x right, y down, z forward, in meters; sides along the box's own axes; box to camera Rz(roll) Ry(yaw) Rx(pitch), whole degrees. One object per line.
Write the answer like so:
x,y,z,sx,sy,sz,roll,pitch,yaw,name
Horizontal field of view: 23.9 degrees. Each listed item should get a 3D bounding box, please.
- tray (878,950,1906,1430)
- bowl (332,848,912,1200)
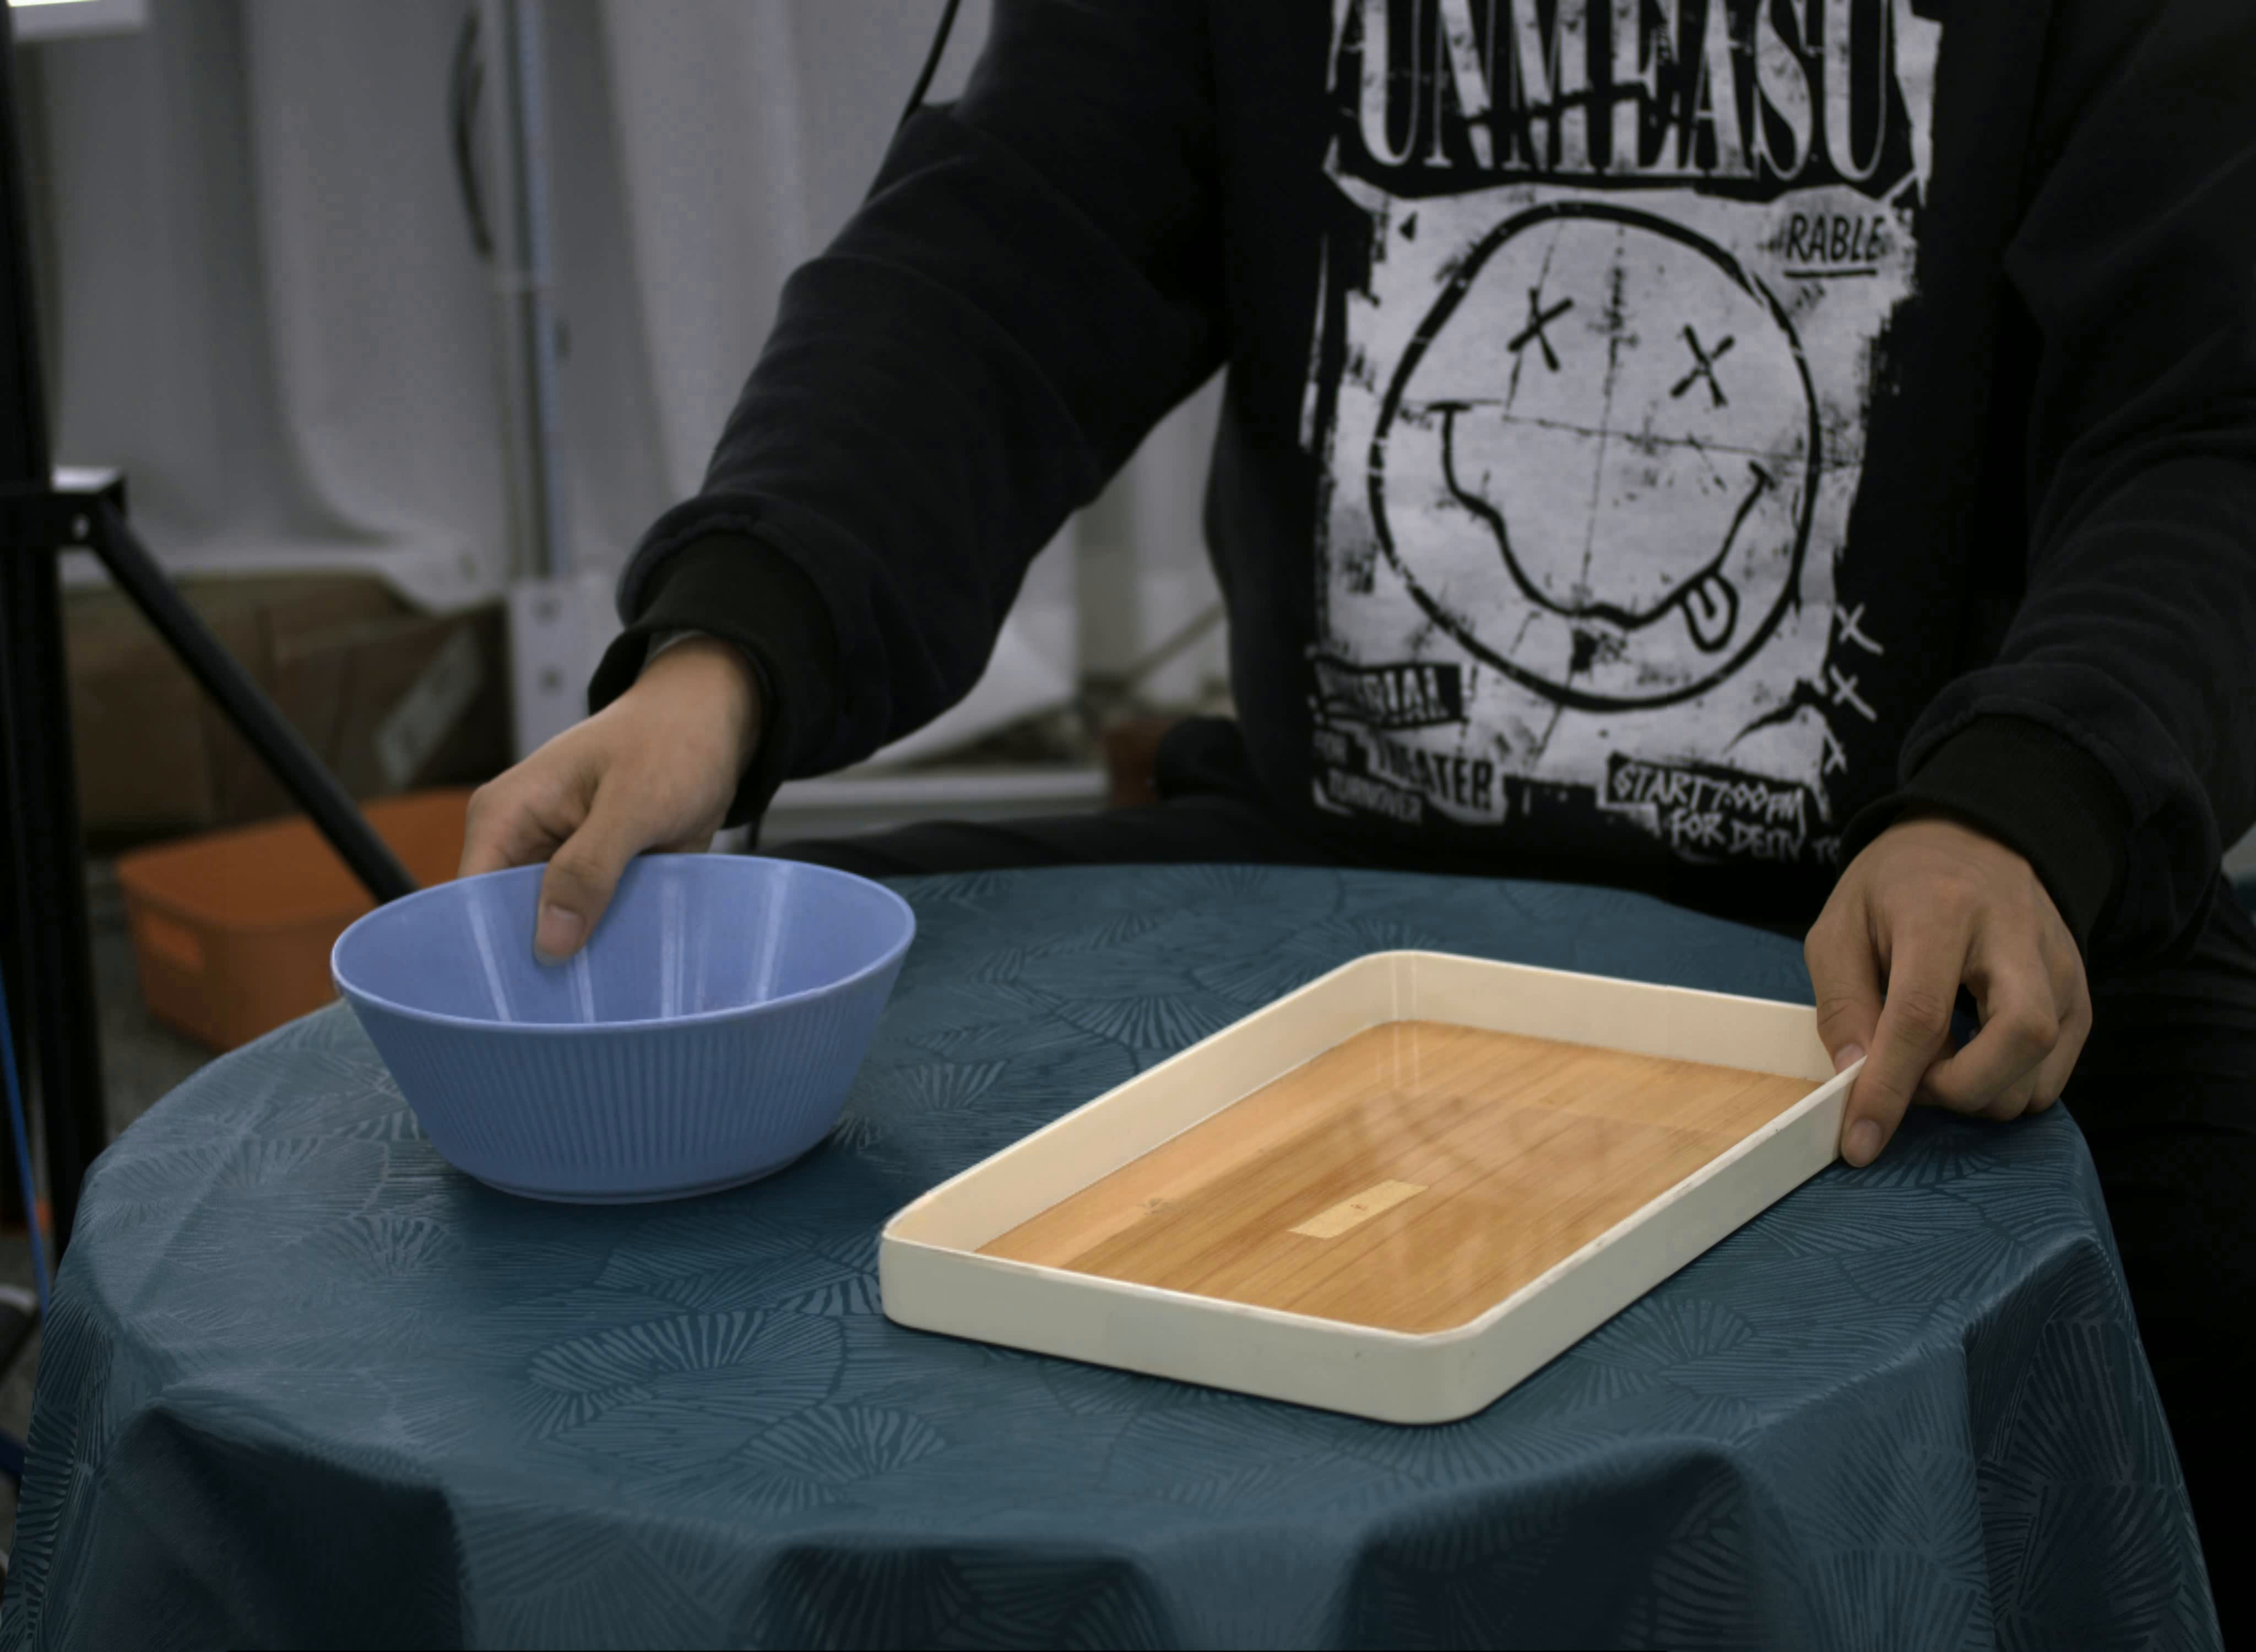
0.083,0.099,1.528,0.195,0.027,0.294,8,19,32,tray
-0.151,0.062,1.613,0.175,0.070,0.177,-2,17,-1,bowl
